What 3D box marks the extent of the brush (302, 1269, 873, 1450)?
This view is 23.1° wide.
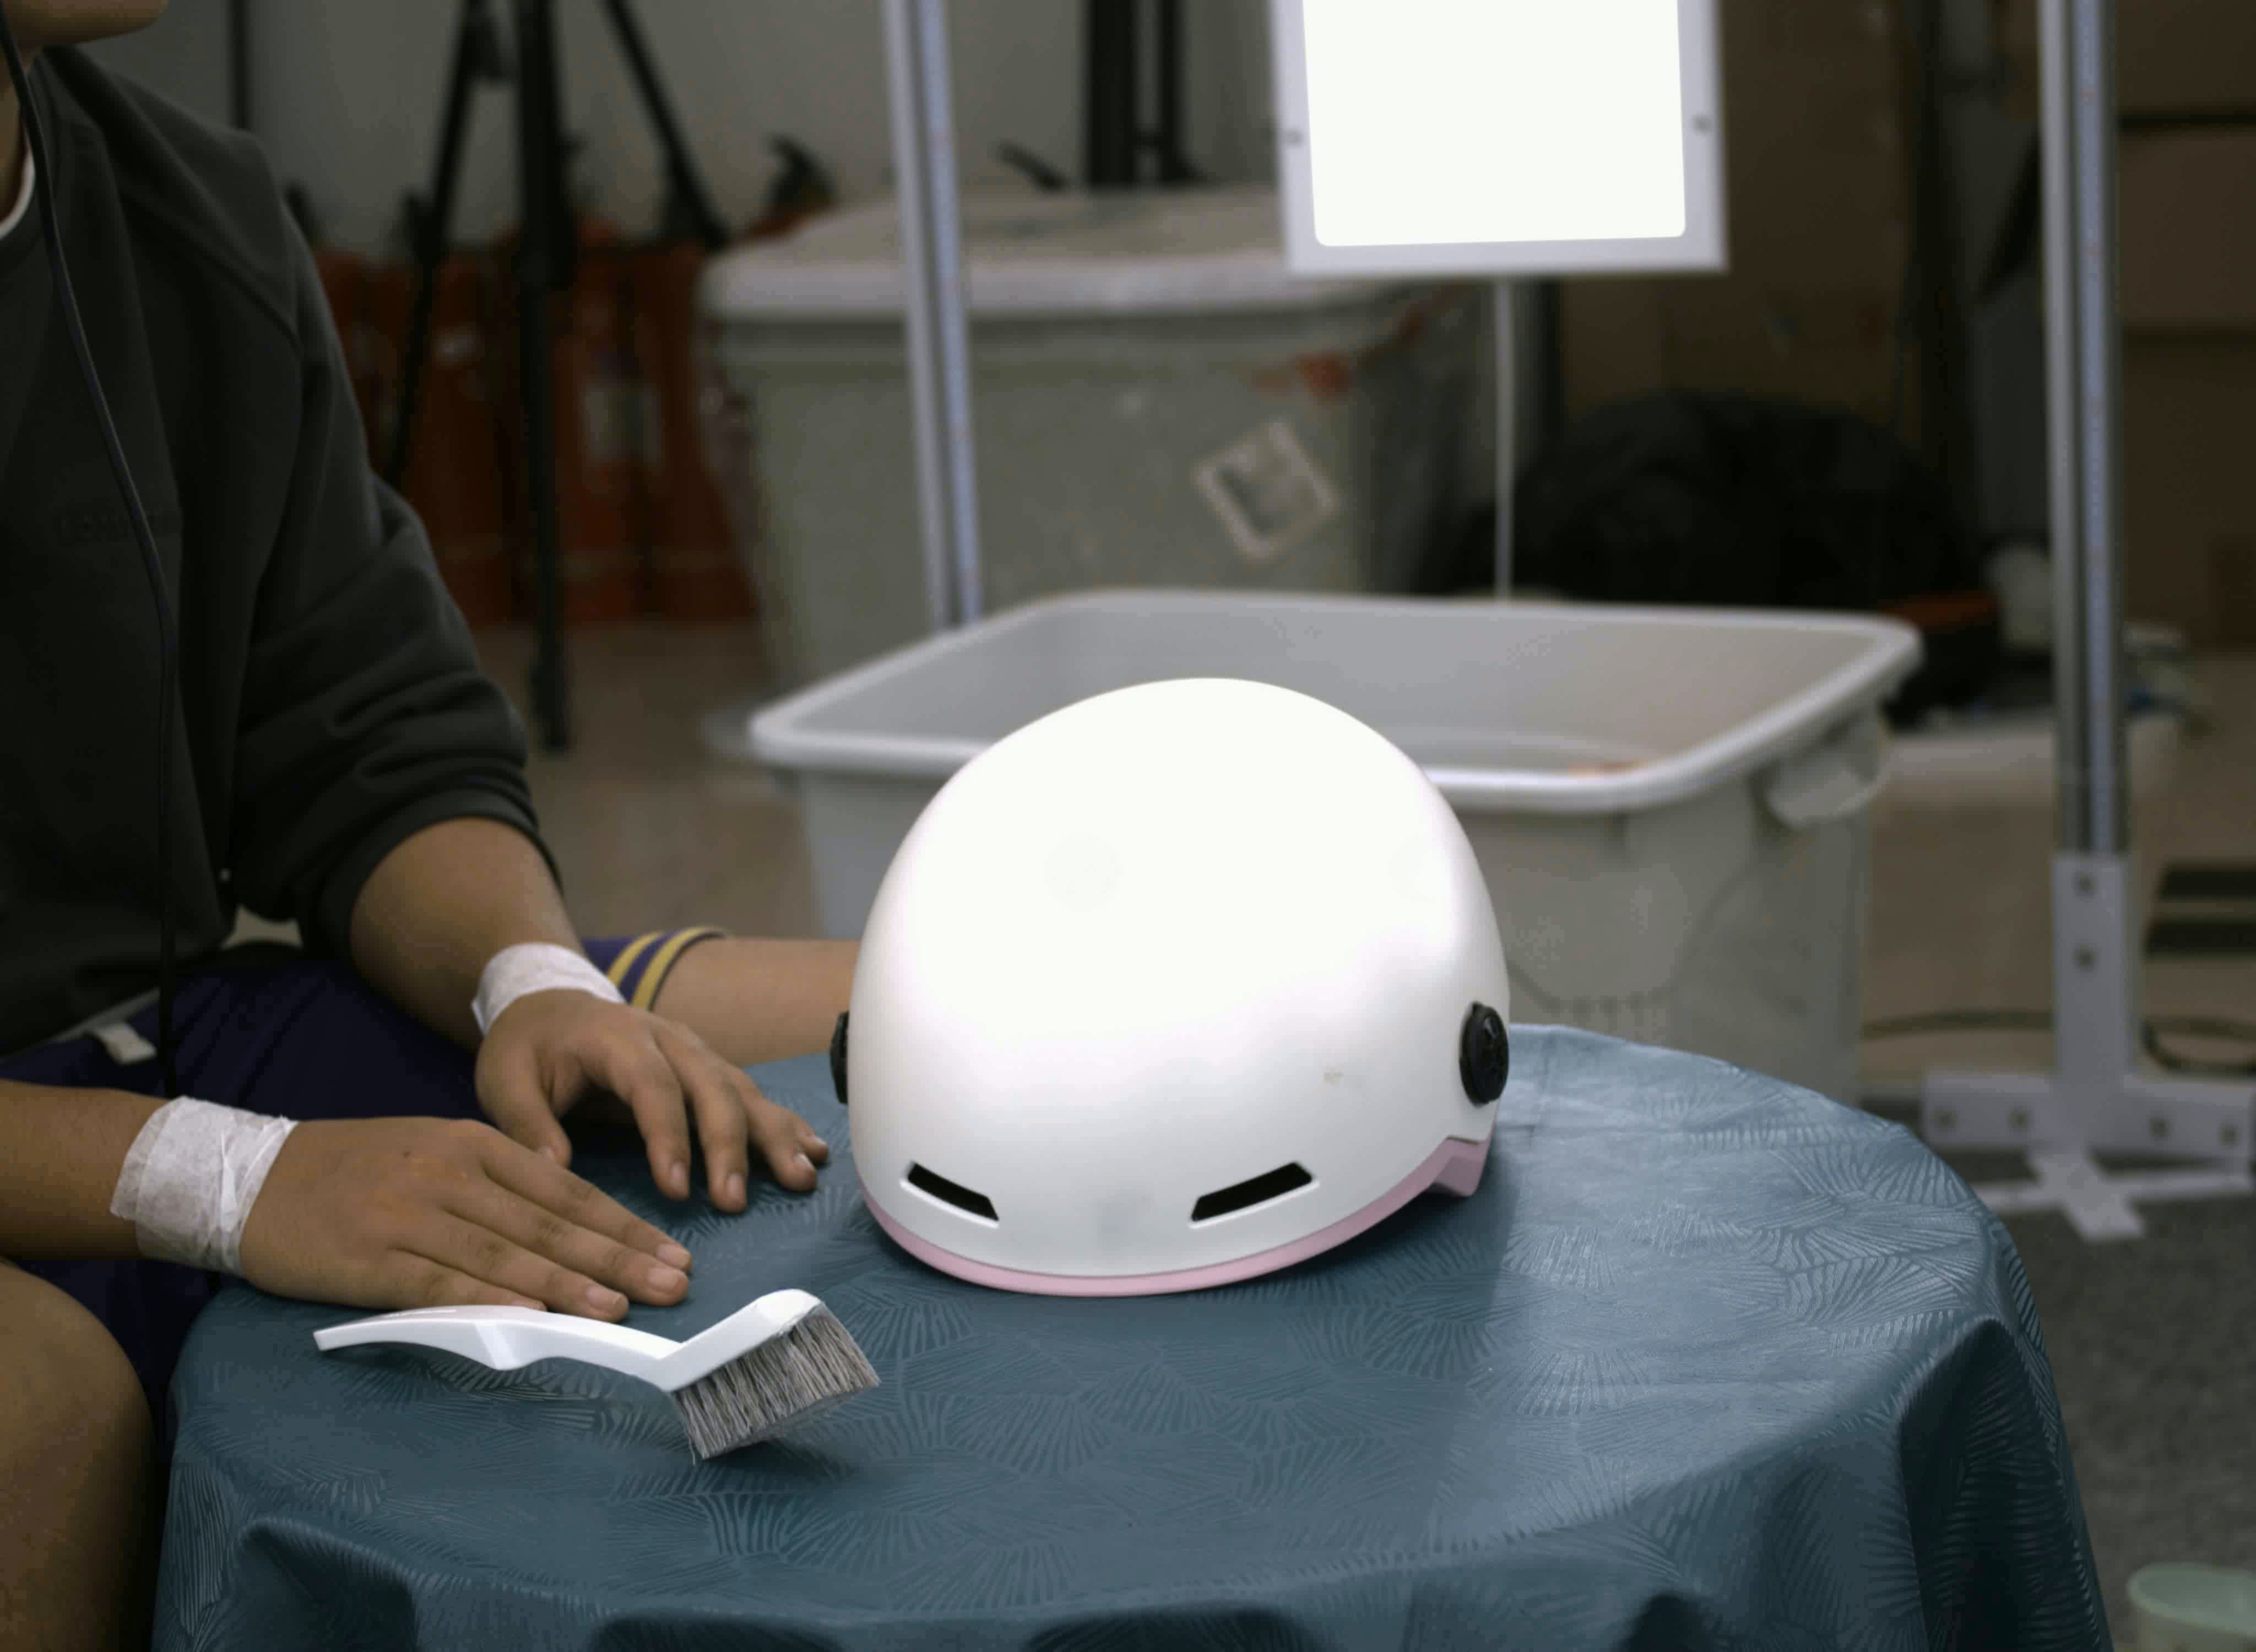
[{"bbox_3d":[-0.173,0.172,1.725,0.249,0.050,0.033,-10,2,43],"label":"brush"}]

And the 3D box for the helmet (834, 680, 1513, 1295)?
[{"bbox_3d":[0.017,0.042,1.893,0.240,0.167,0.264,0,15,17],"label":"helmet"}]
